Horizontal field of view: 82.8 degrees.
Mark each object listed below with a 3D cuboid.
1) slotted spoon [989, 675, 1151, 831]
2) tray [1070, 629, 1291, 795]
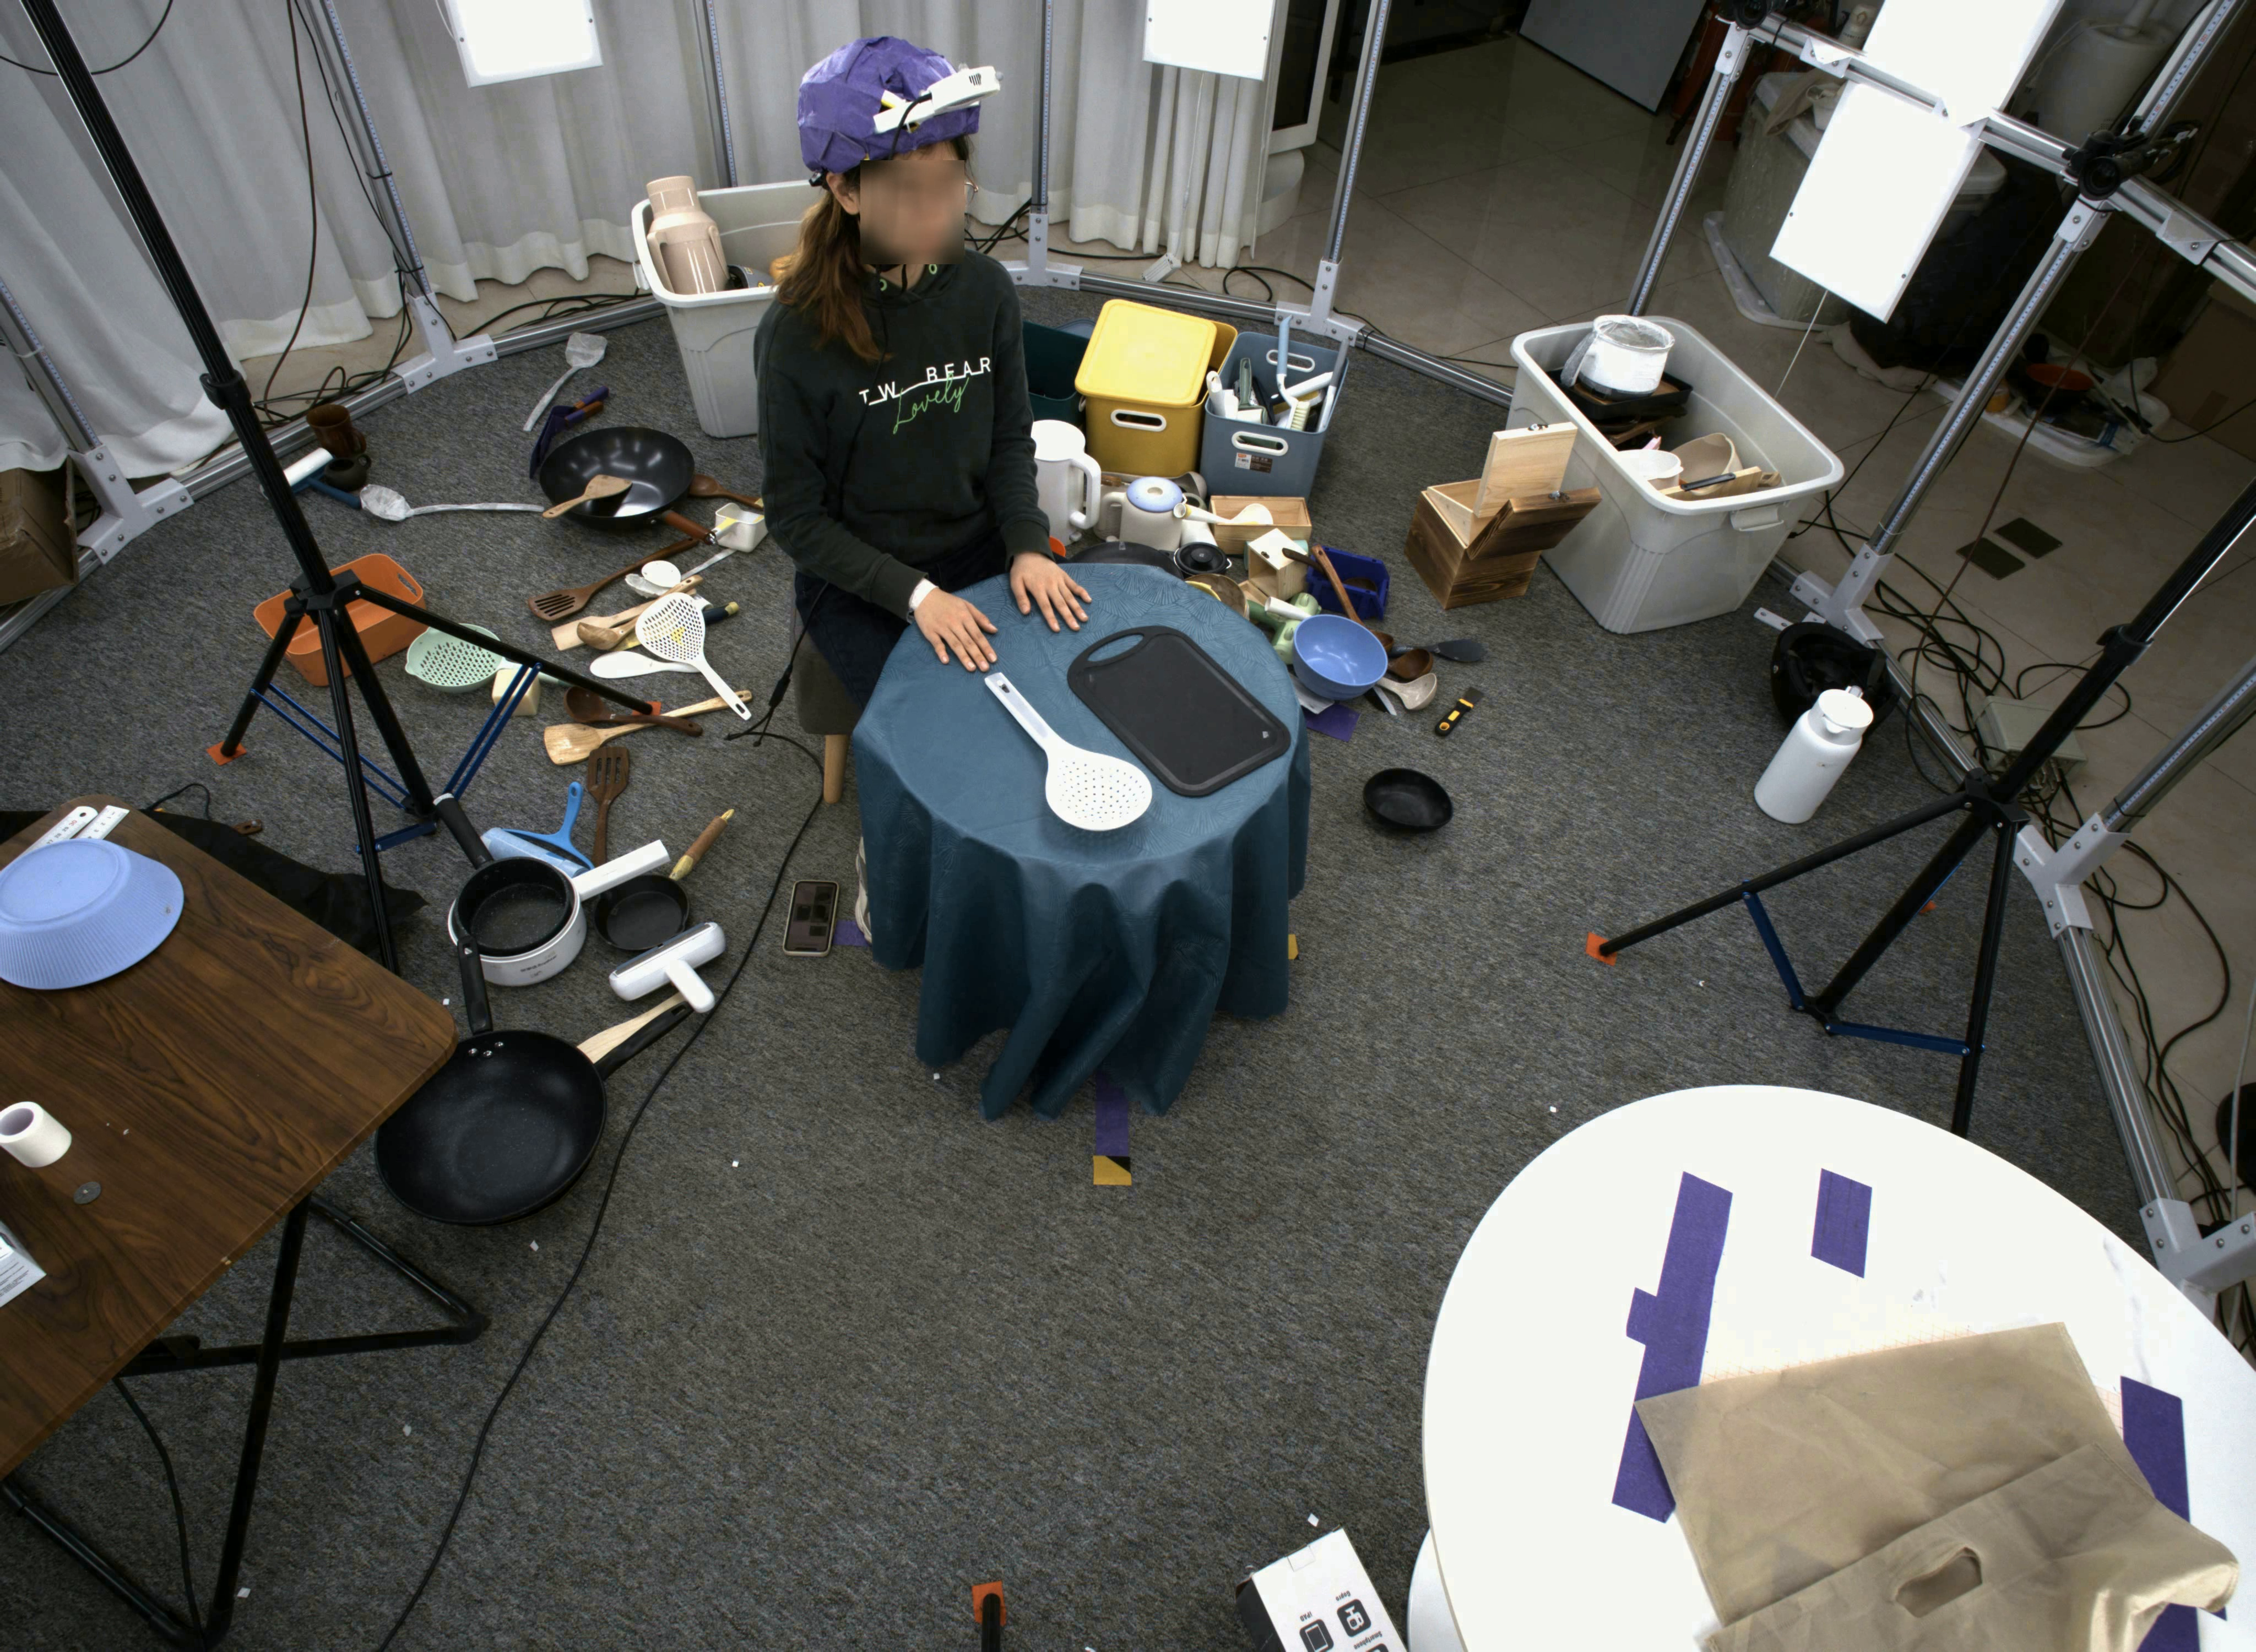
[{"bbox_3d":[-0.096,-0.104,1.738,0.136,0.044,0.357,-22,53,-24],"label":"slotted spoon"},{"bbox_3d":[0.067,-0.175,1.836,0.212,0.009,0.331,-27,55,-25],"label":"tray"}]
